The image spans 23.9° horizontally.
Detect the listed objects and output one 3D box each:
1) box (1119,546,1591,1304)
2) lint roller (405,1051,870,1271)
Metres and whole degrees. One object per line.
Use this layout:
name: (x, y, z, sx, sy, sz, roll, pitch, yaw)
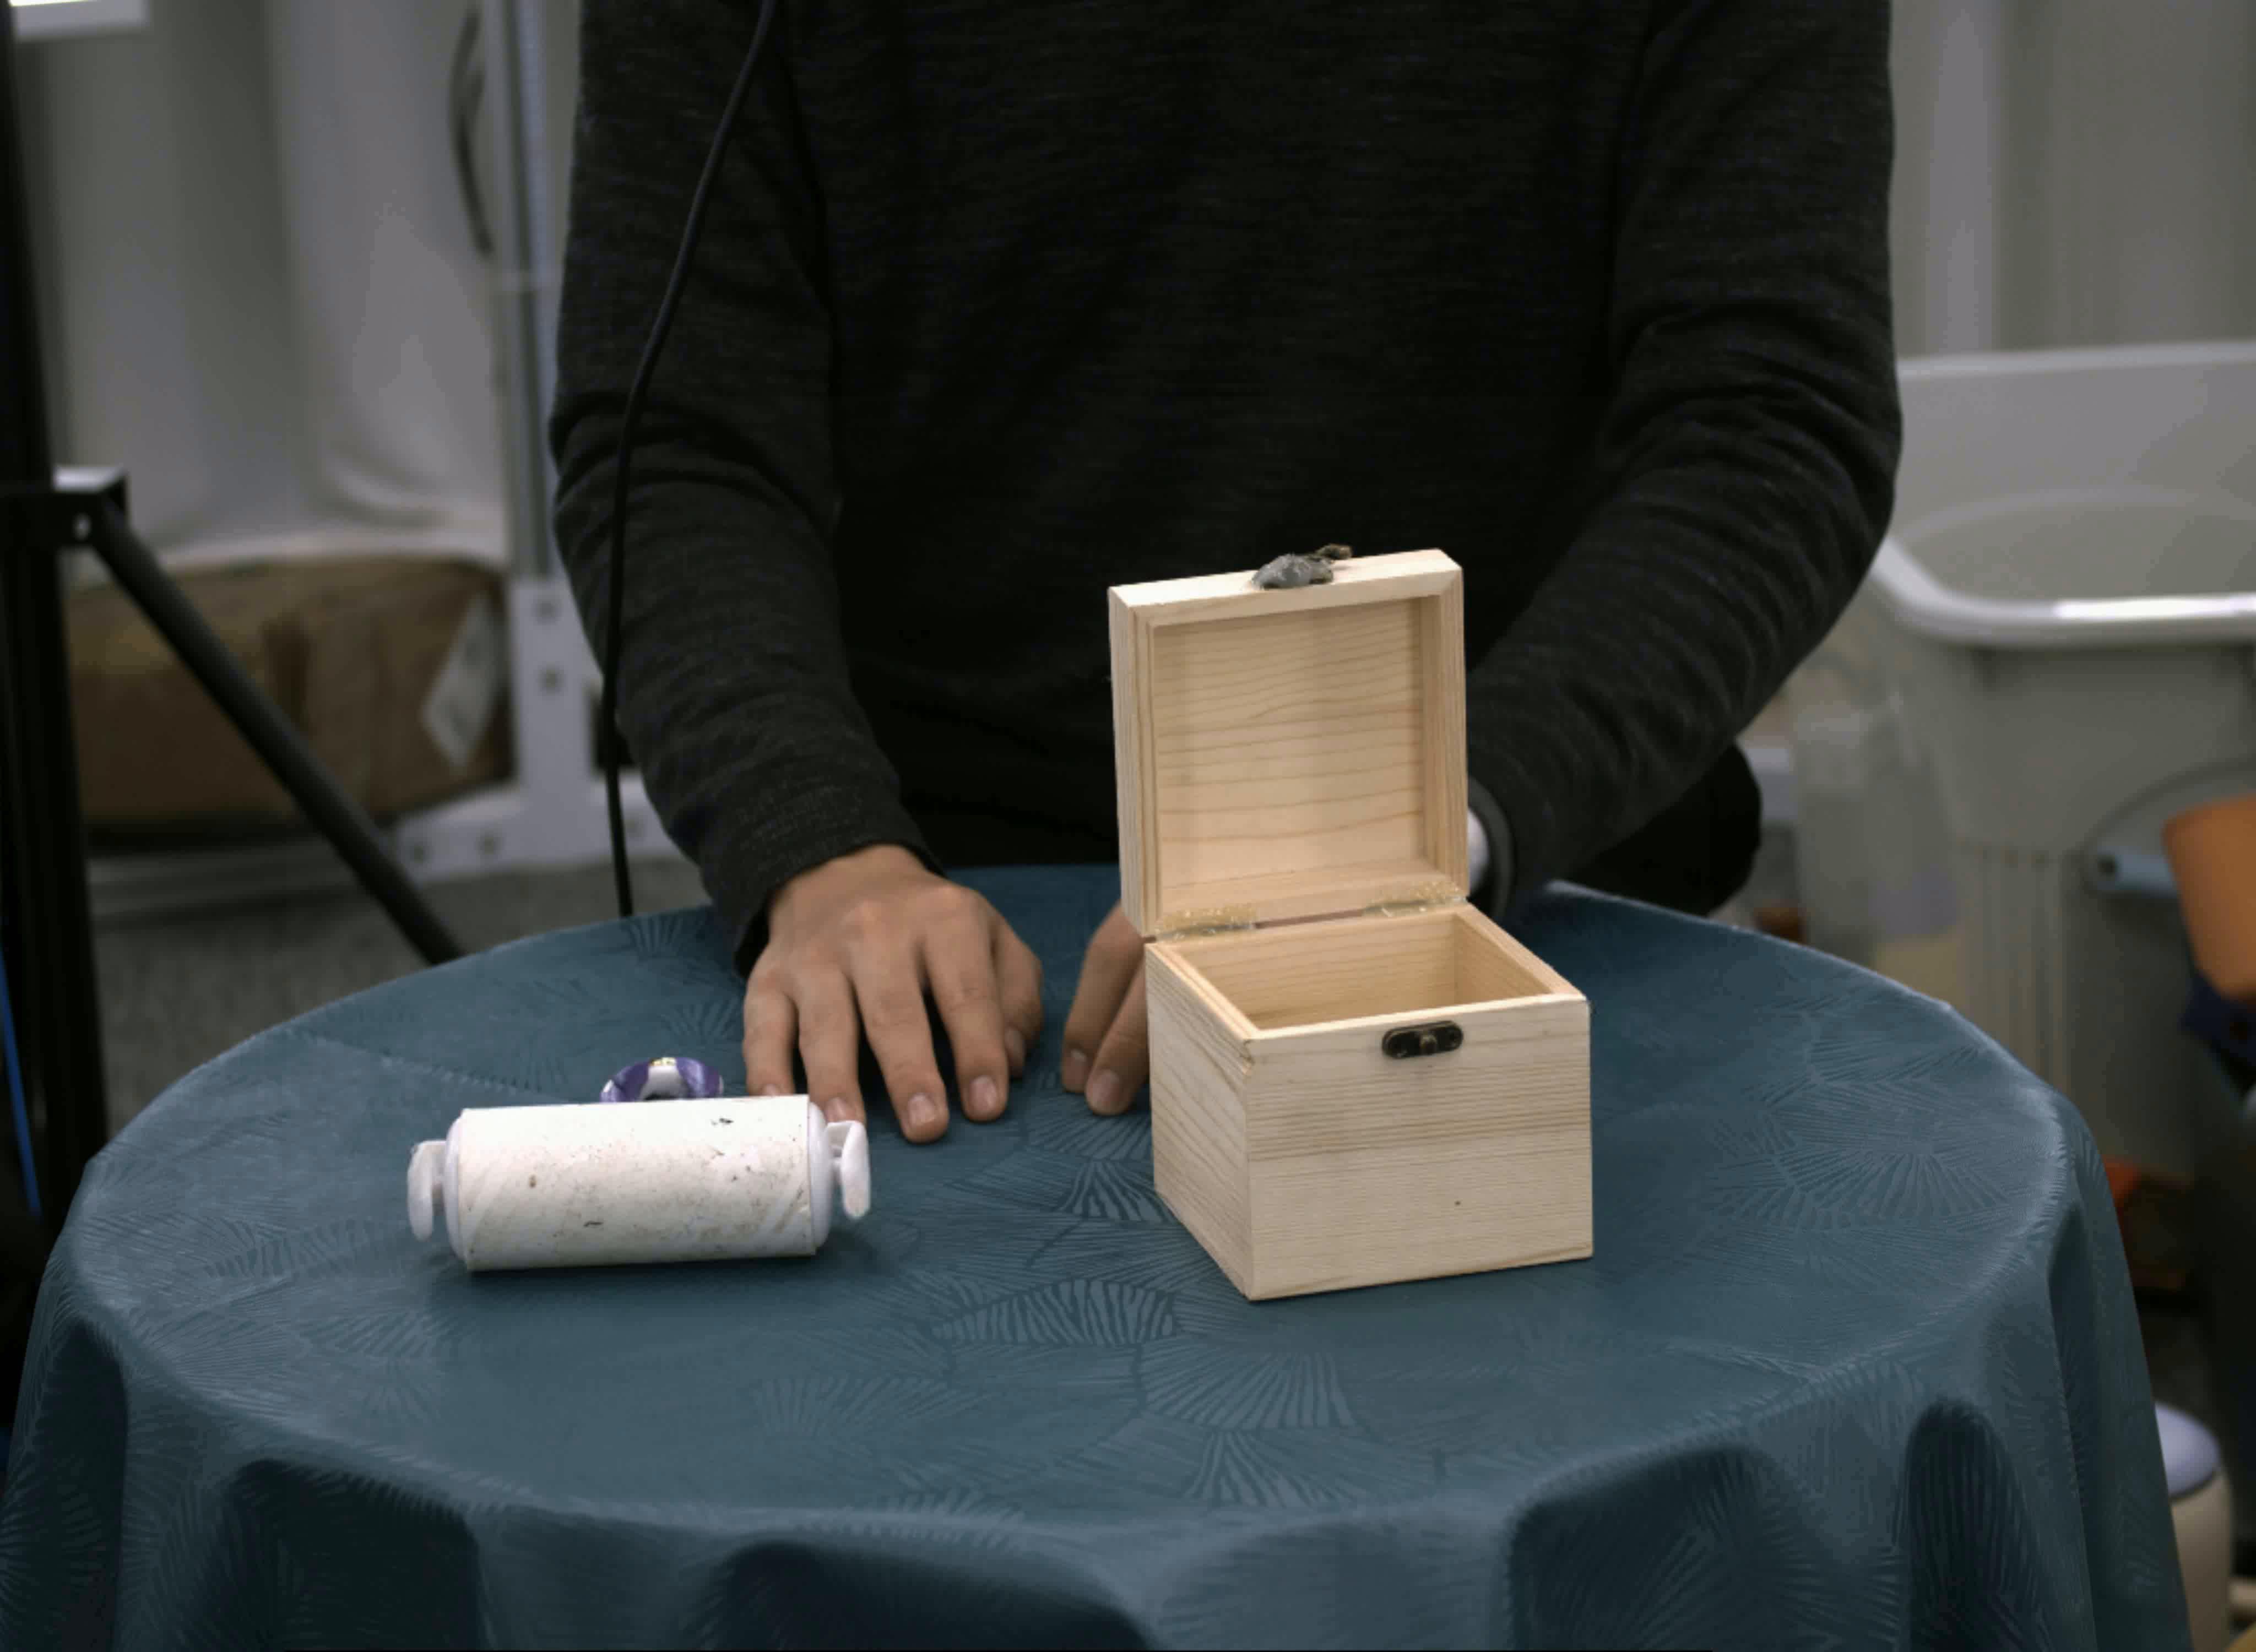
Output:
box: (0.064, 0.025, 1.505, 0.101, 0.184, 0.136, -6, 15, -13)
lint roller: (-0.140, 0.083, 1.581, 0.132, 0.050, 0.181, -3, 17, 2)
